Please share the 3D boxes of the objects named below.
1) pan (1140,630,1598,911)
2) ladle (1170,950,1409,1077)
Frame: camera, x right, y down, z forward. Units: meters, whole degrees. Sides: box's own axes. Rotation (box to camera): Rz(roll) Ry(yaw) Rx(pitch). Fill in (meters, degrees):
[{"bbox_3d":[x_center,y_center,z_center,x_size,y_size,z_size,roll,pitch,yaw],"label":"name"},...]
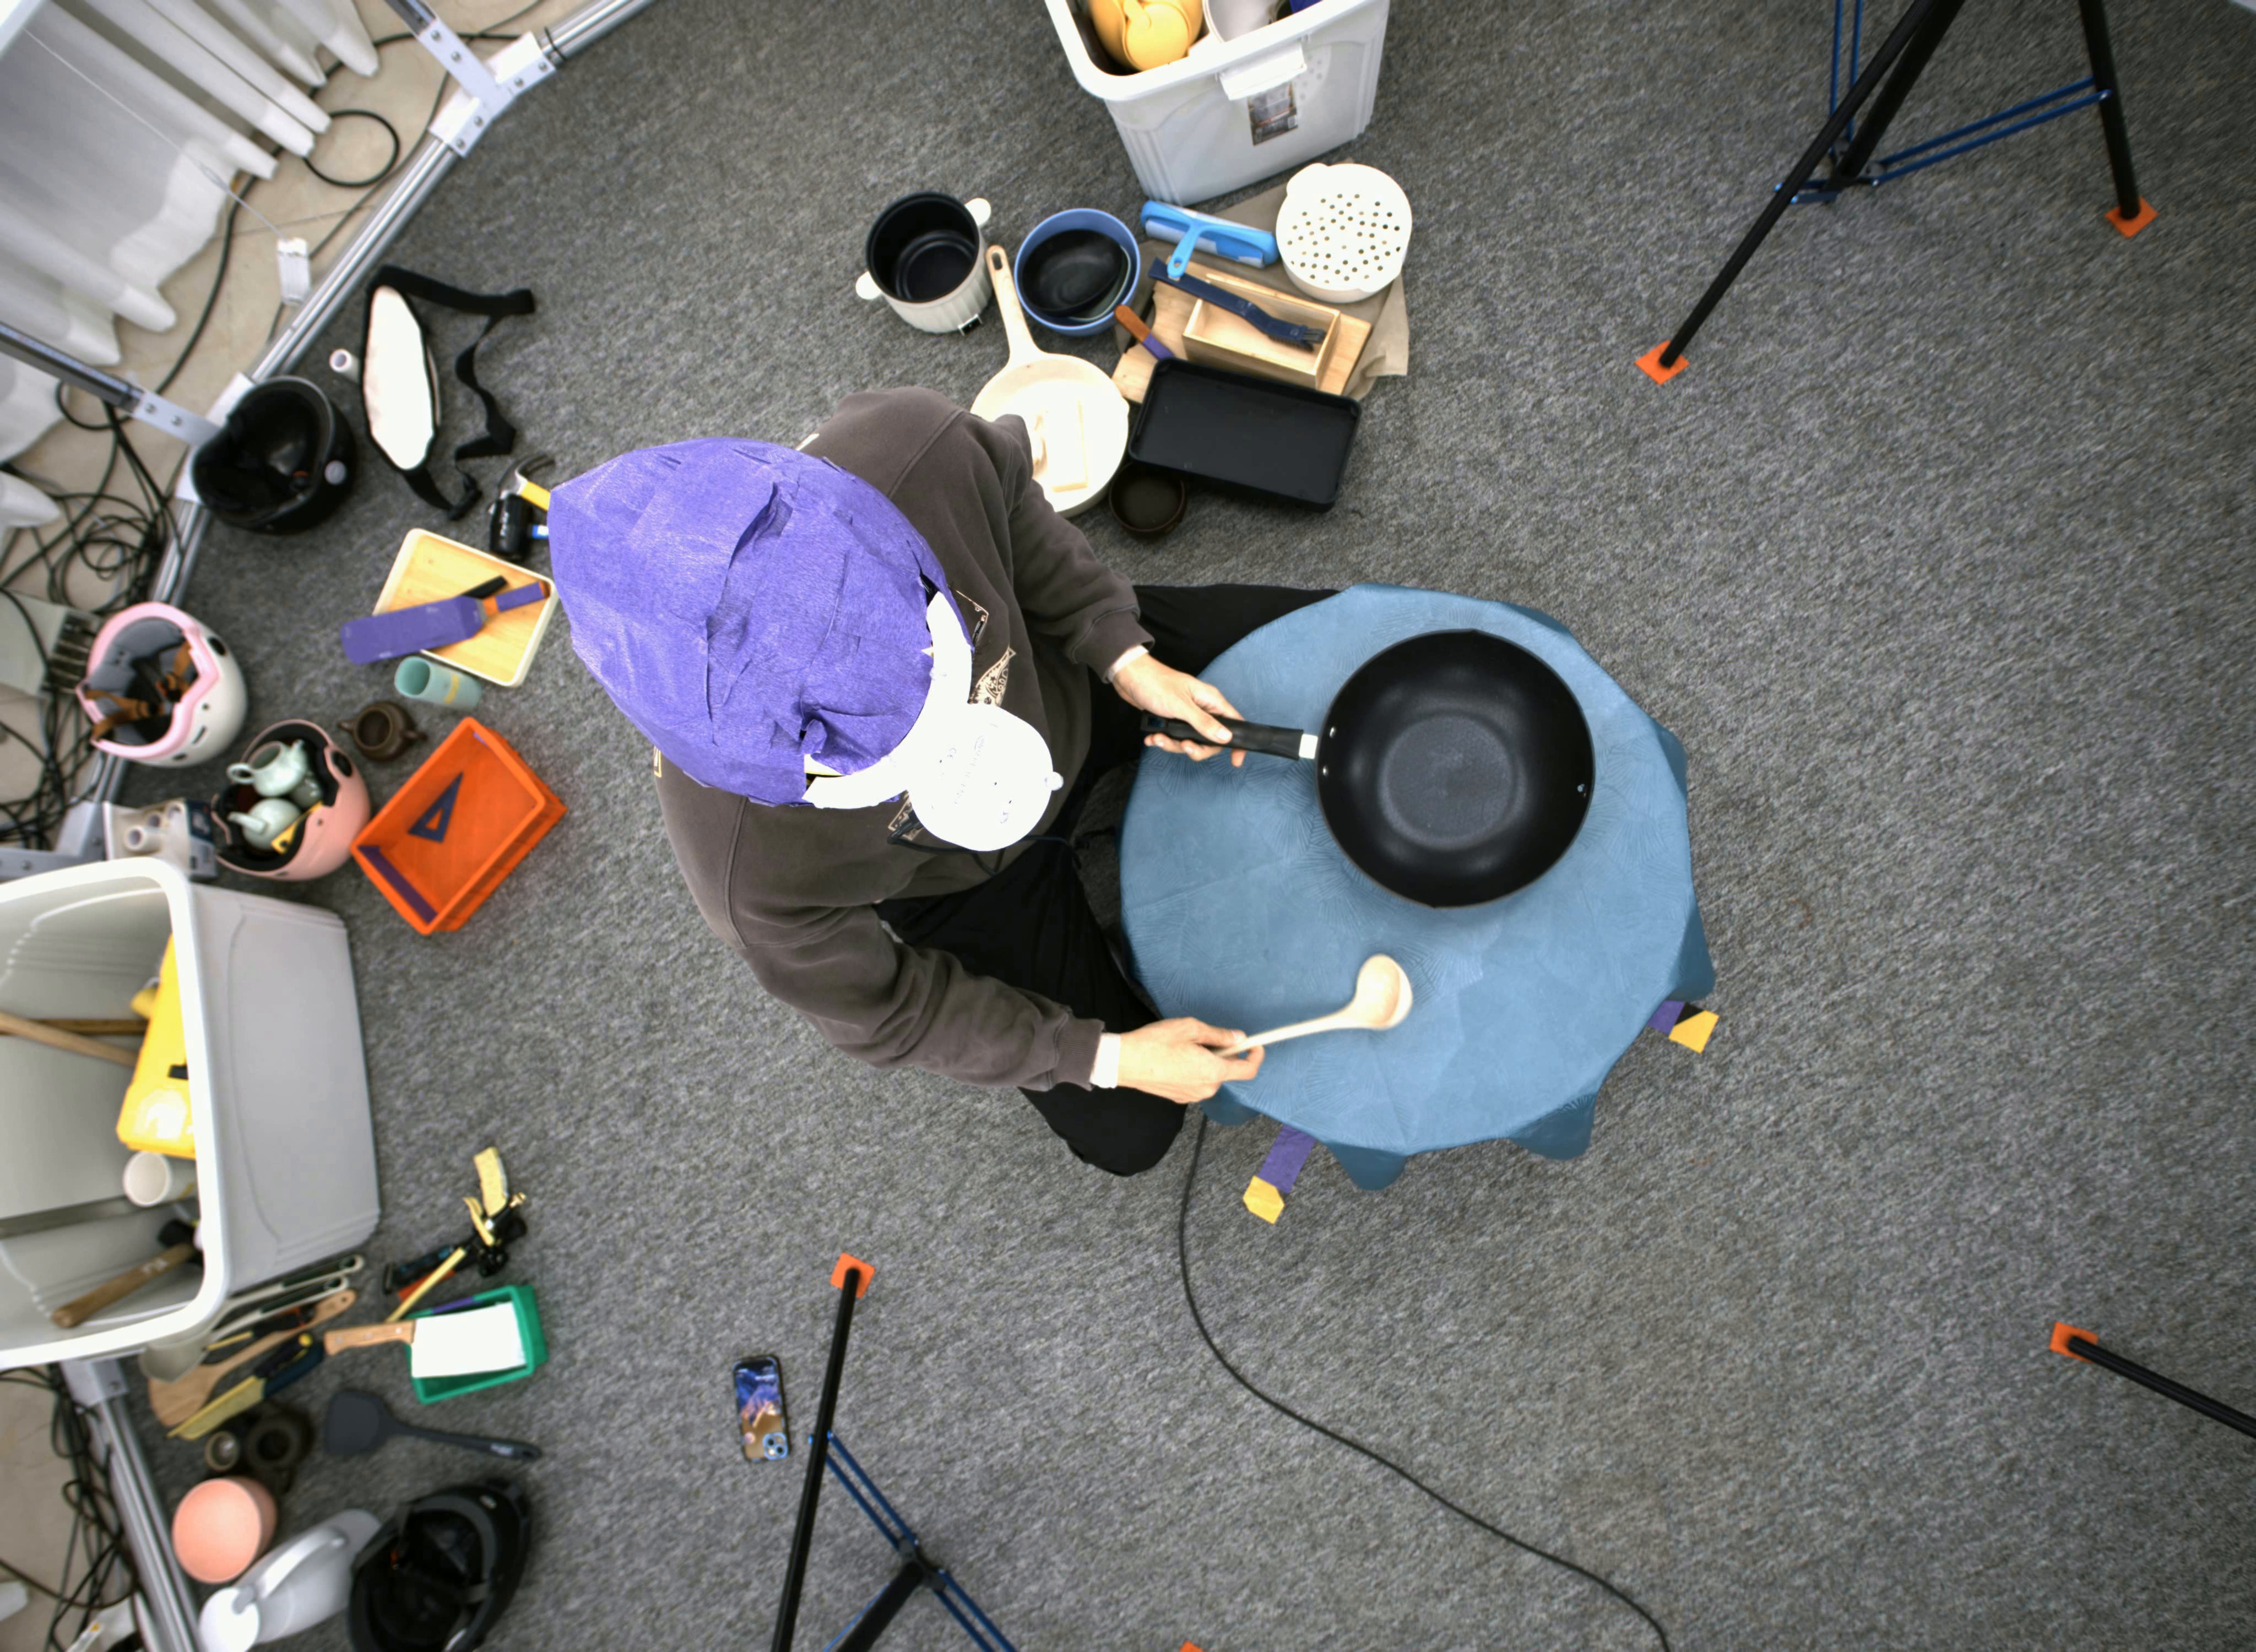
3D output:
[{"bbox_3d":[0.243,-0.070,1.427,0.464,0.087,0.287,10,89,12],"label":"pan"},{"bbox_3d":[0.161,0.191,1.401,0.253,0.074,0.070,-17,55,-9],"label":"ladle"}]
